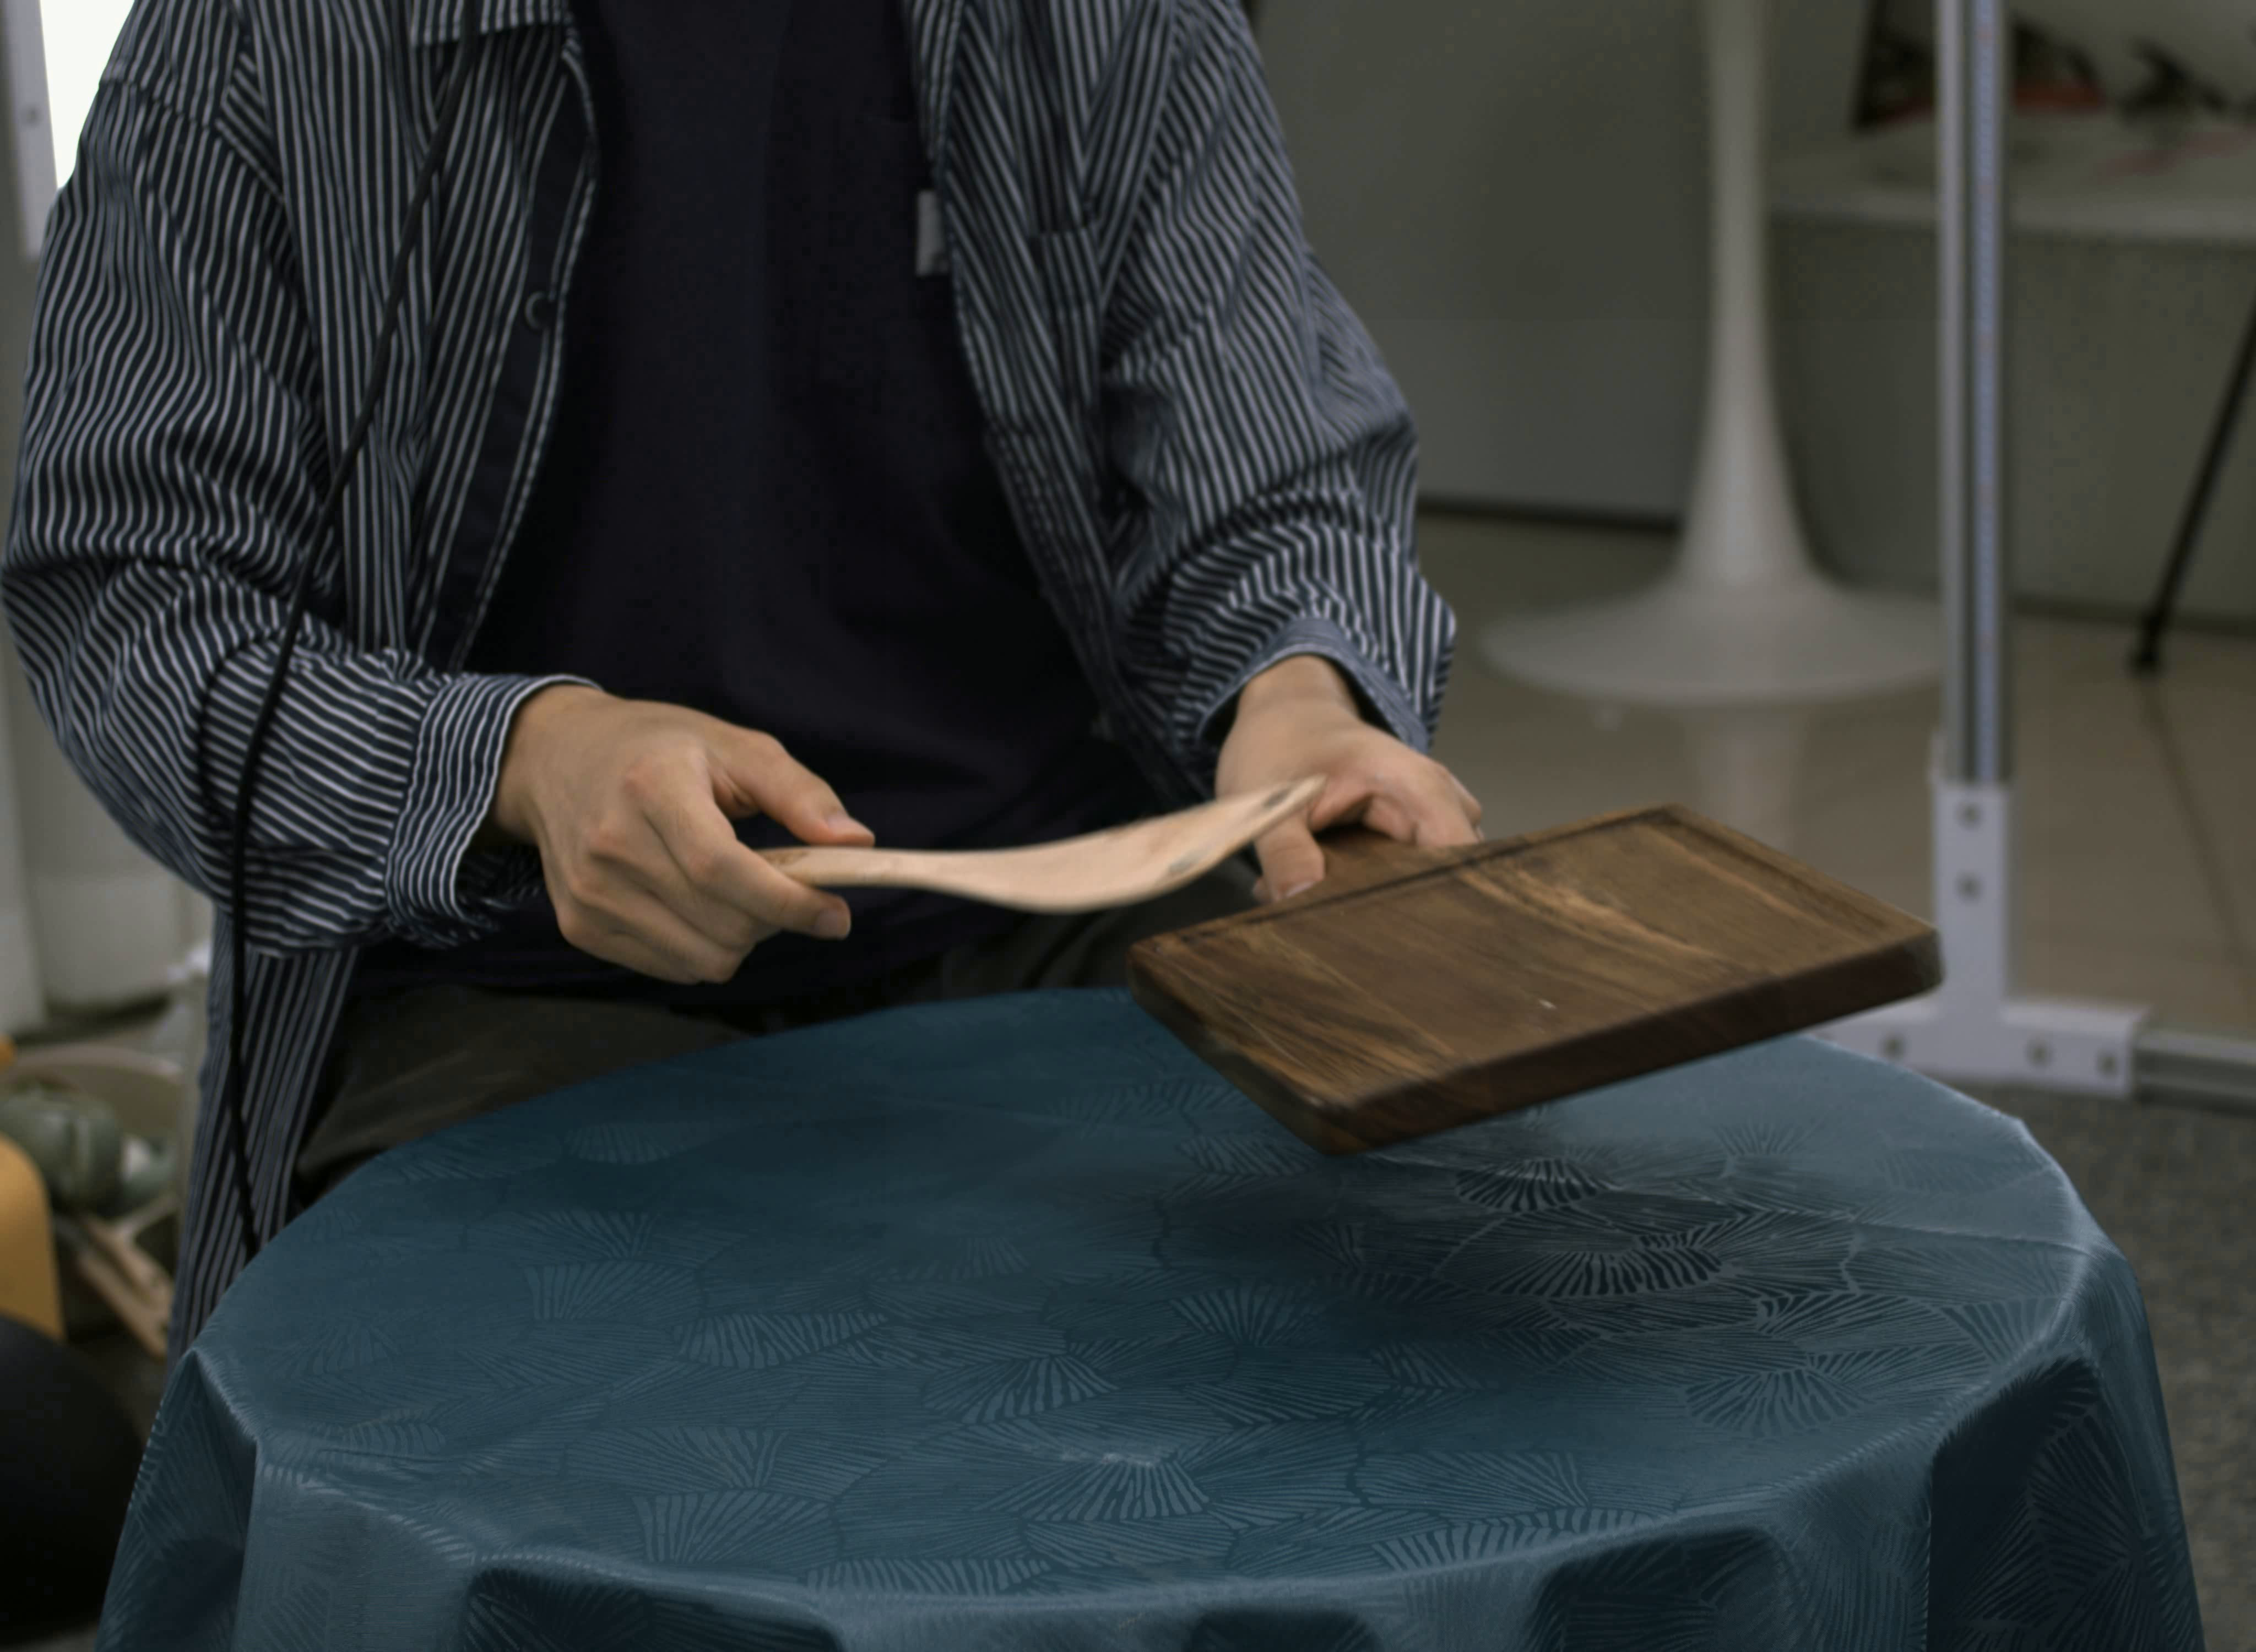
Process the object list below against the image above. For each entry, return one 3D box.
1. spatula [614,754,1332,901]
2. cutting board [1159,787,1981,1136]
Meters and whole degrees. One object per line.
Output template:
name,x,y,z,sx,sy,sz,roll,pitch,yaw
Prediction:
spatula,-0.061,0.006,1.725,0.330,0.016,0.078,-5,20,48
cutting board,0.119,0.030,1.713,0.198,0.023,0.354,-15,12,-9
